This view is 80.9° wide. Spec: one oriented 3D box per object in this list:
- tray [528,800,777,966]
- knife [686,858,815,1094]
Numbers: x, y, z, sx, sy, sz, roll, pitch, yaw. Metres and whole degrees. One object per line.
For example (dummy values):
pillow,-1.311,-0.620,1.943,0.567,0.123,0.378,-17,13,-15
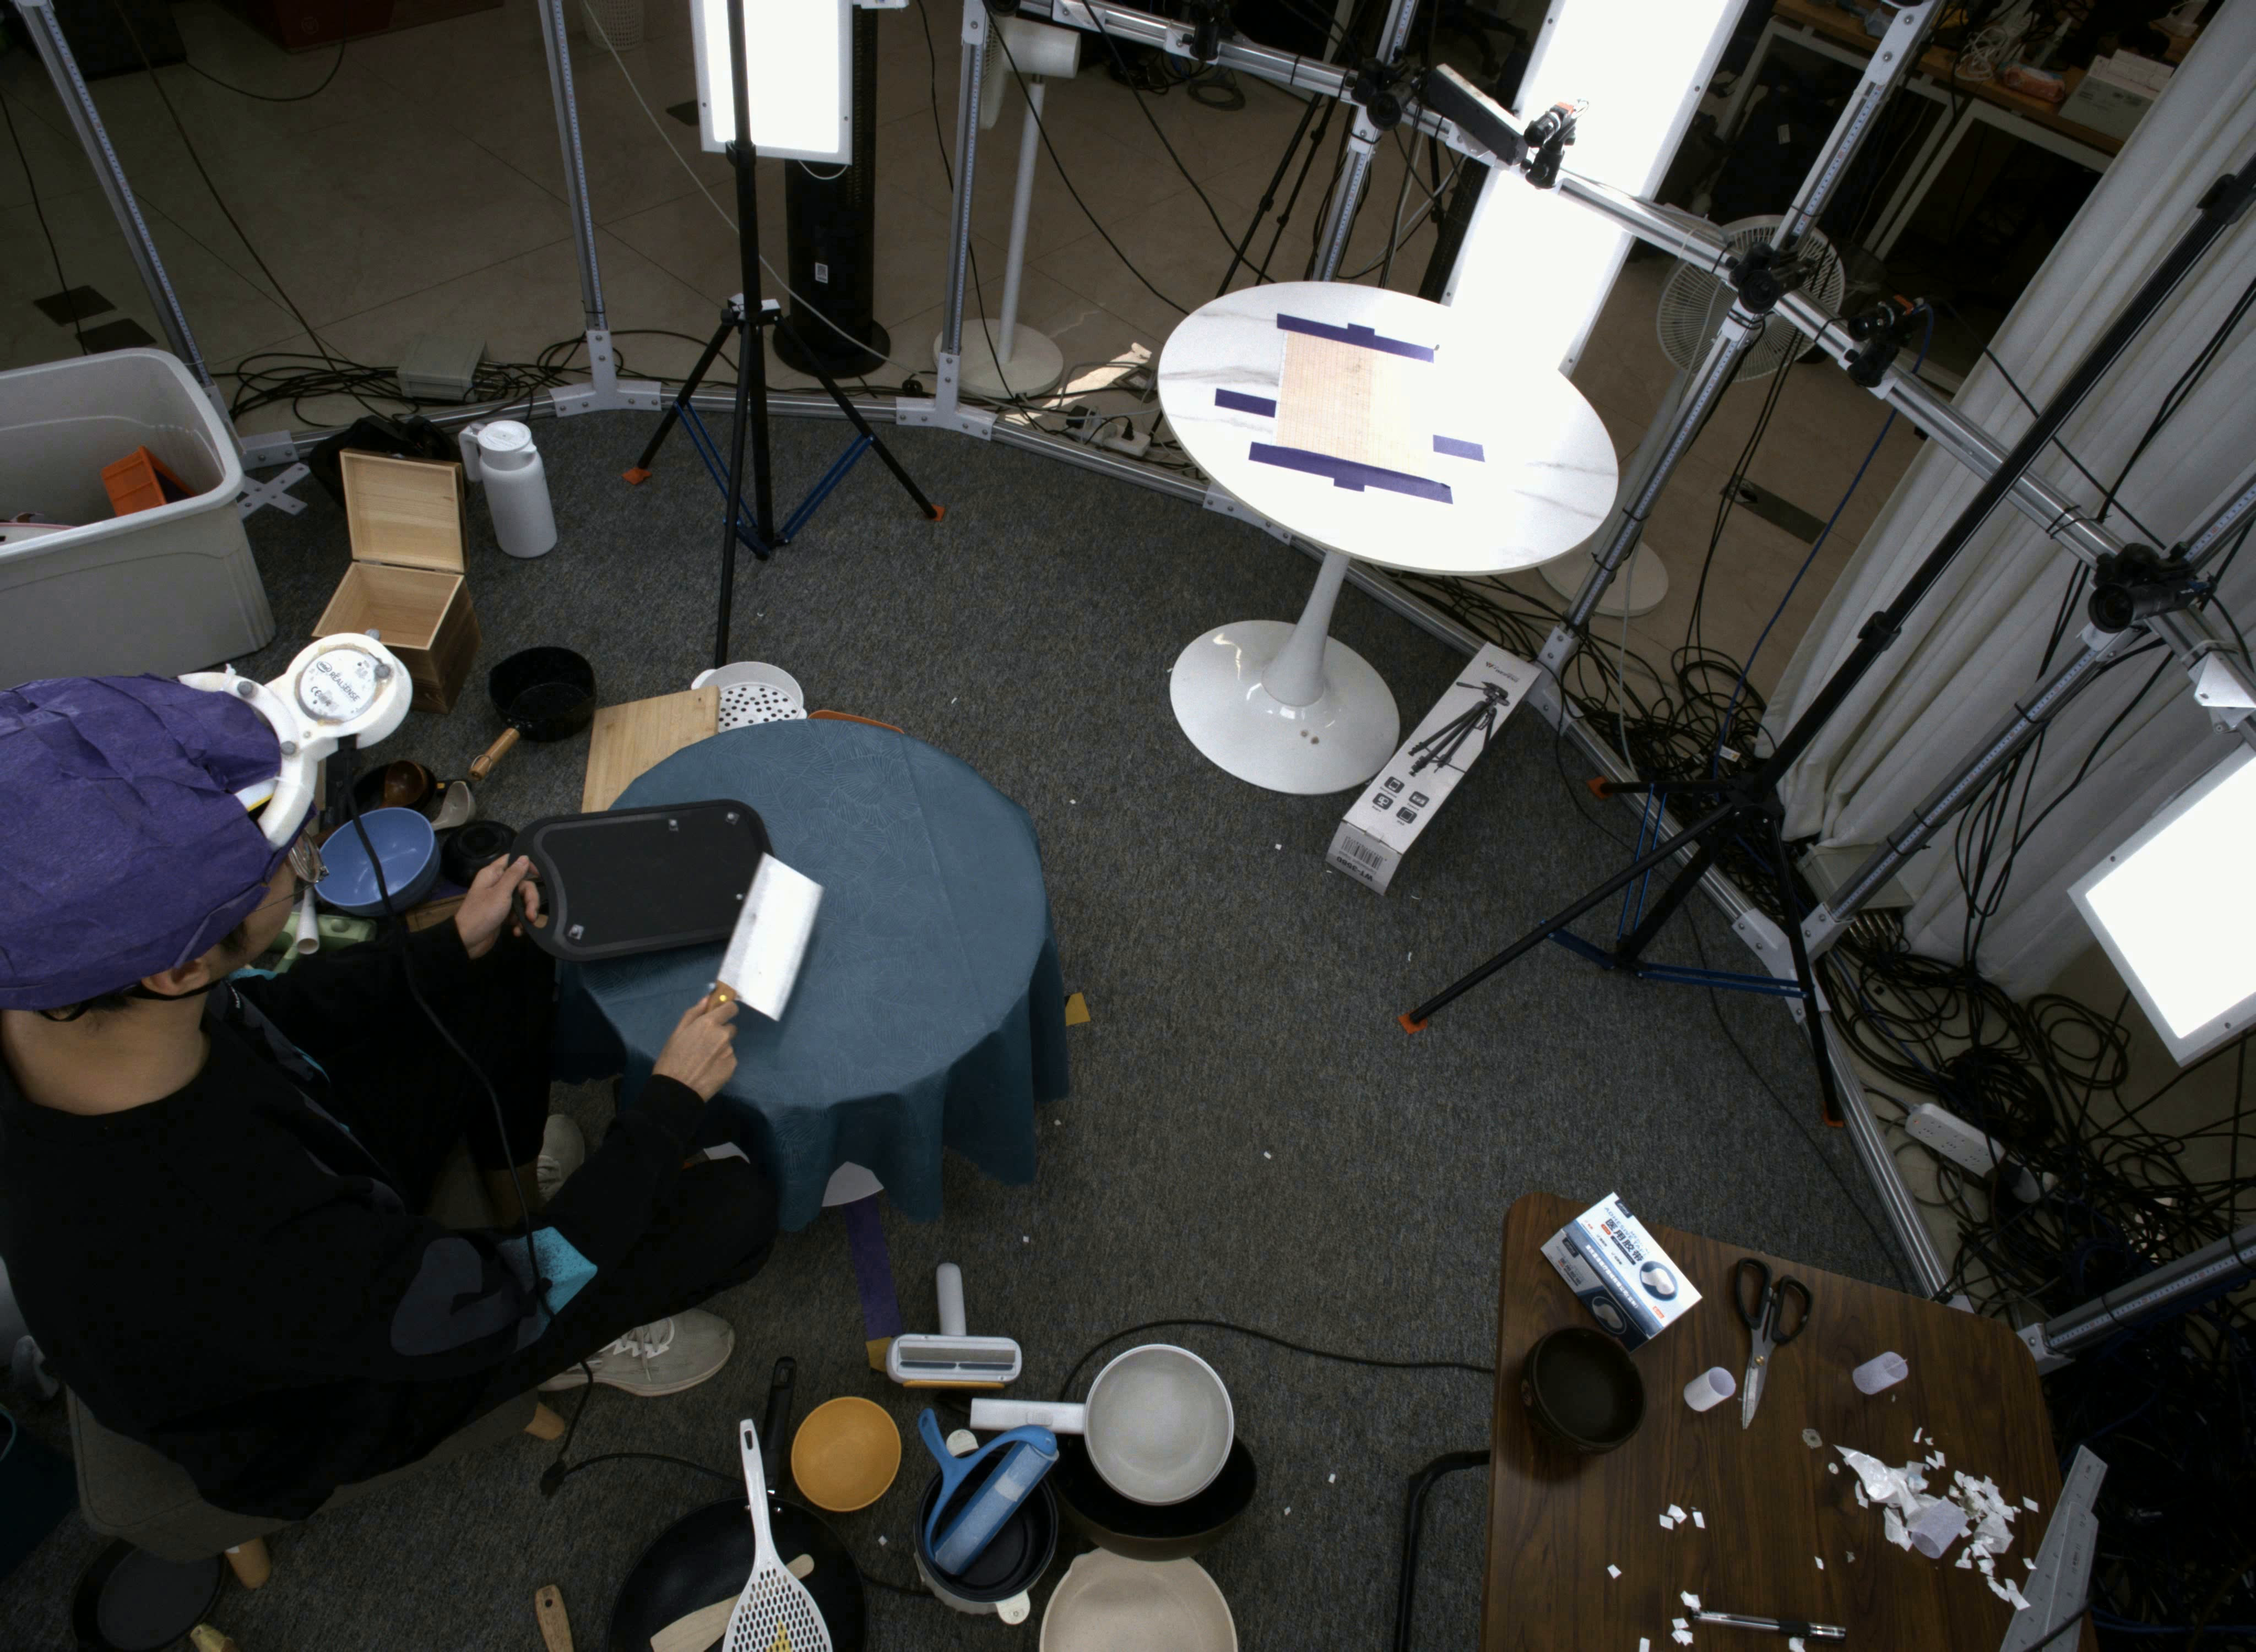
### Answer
tray,-0.587,0.062,1.568,0.330,0.010,0.207,-8,61,-35
knife,-0.428,0.175,1.498,0.095,0.020,0.301,35,48,-30
